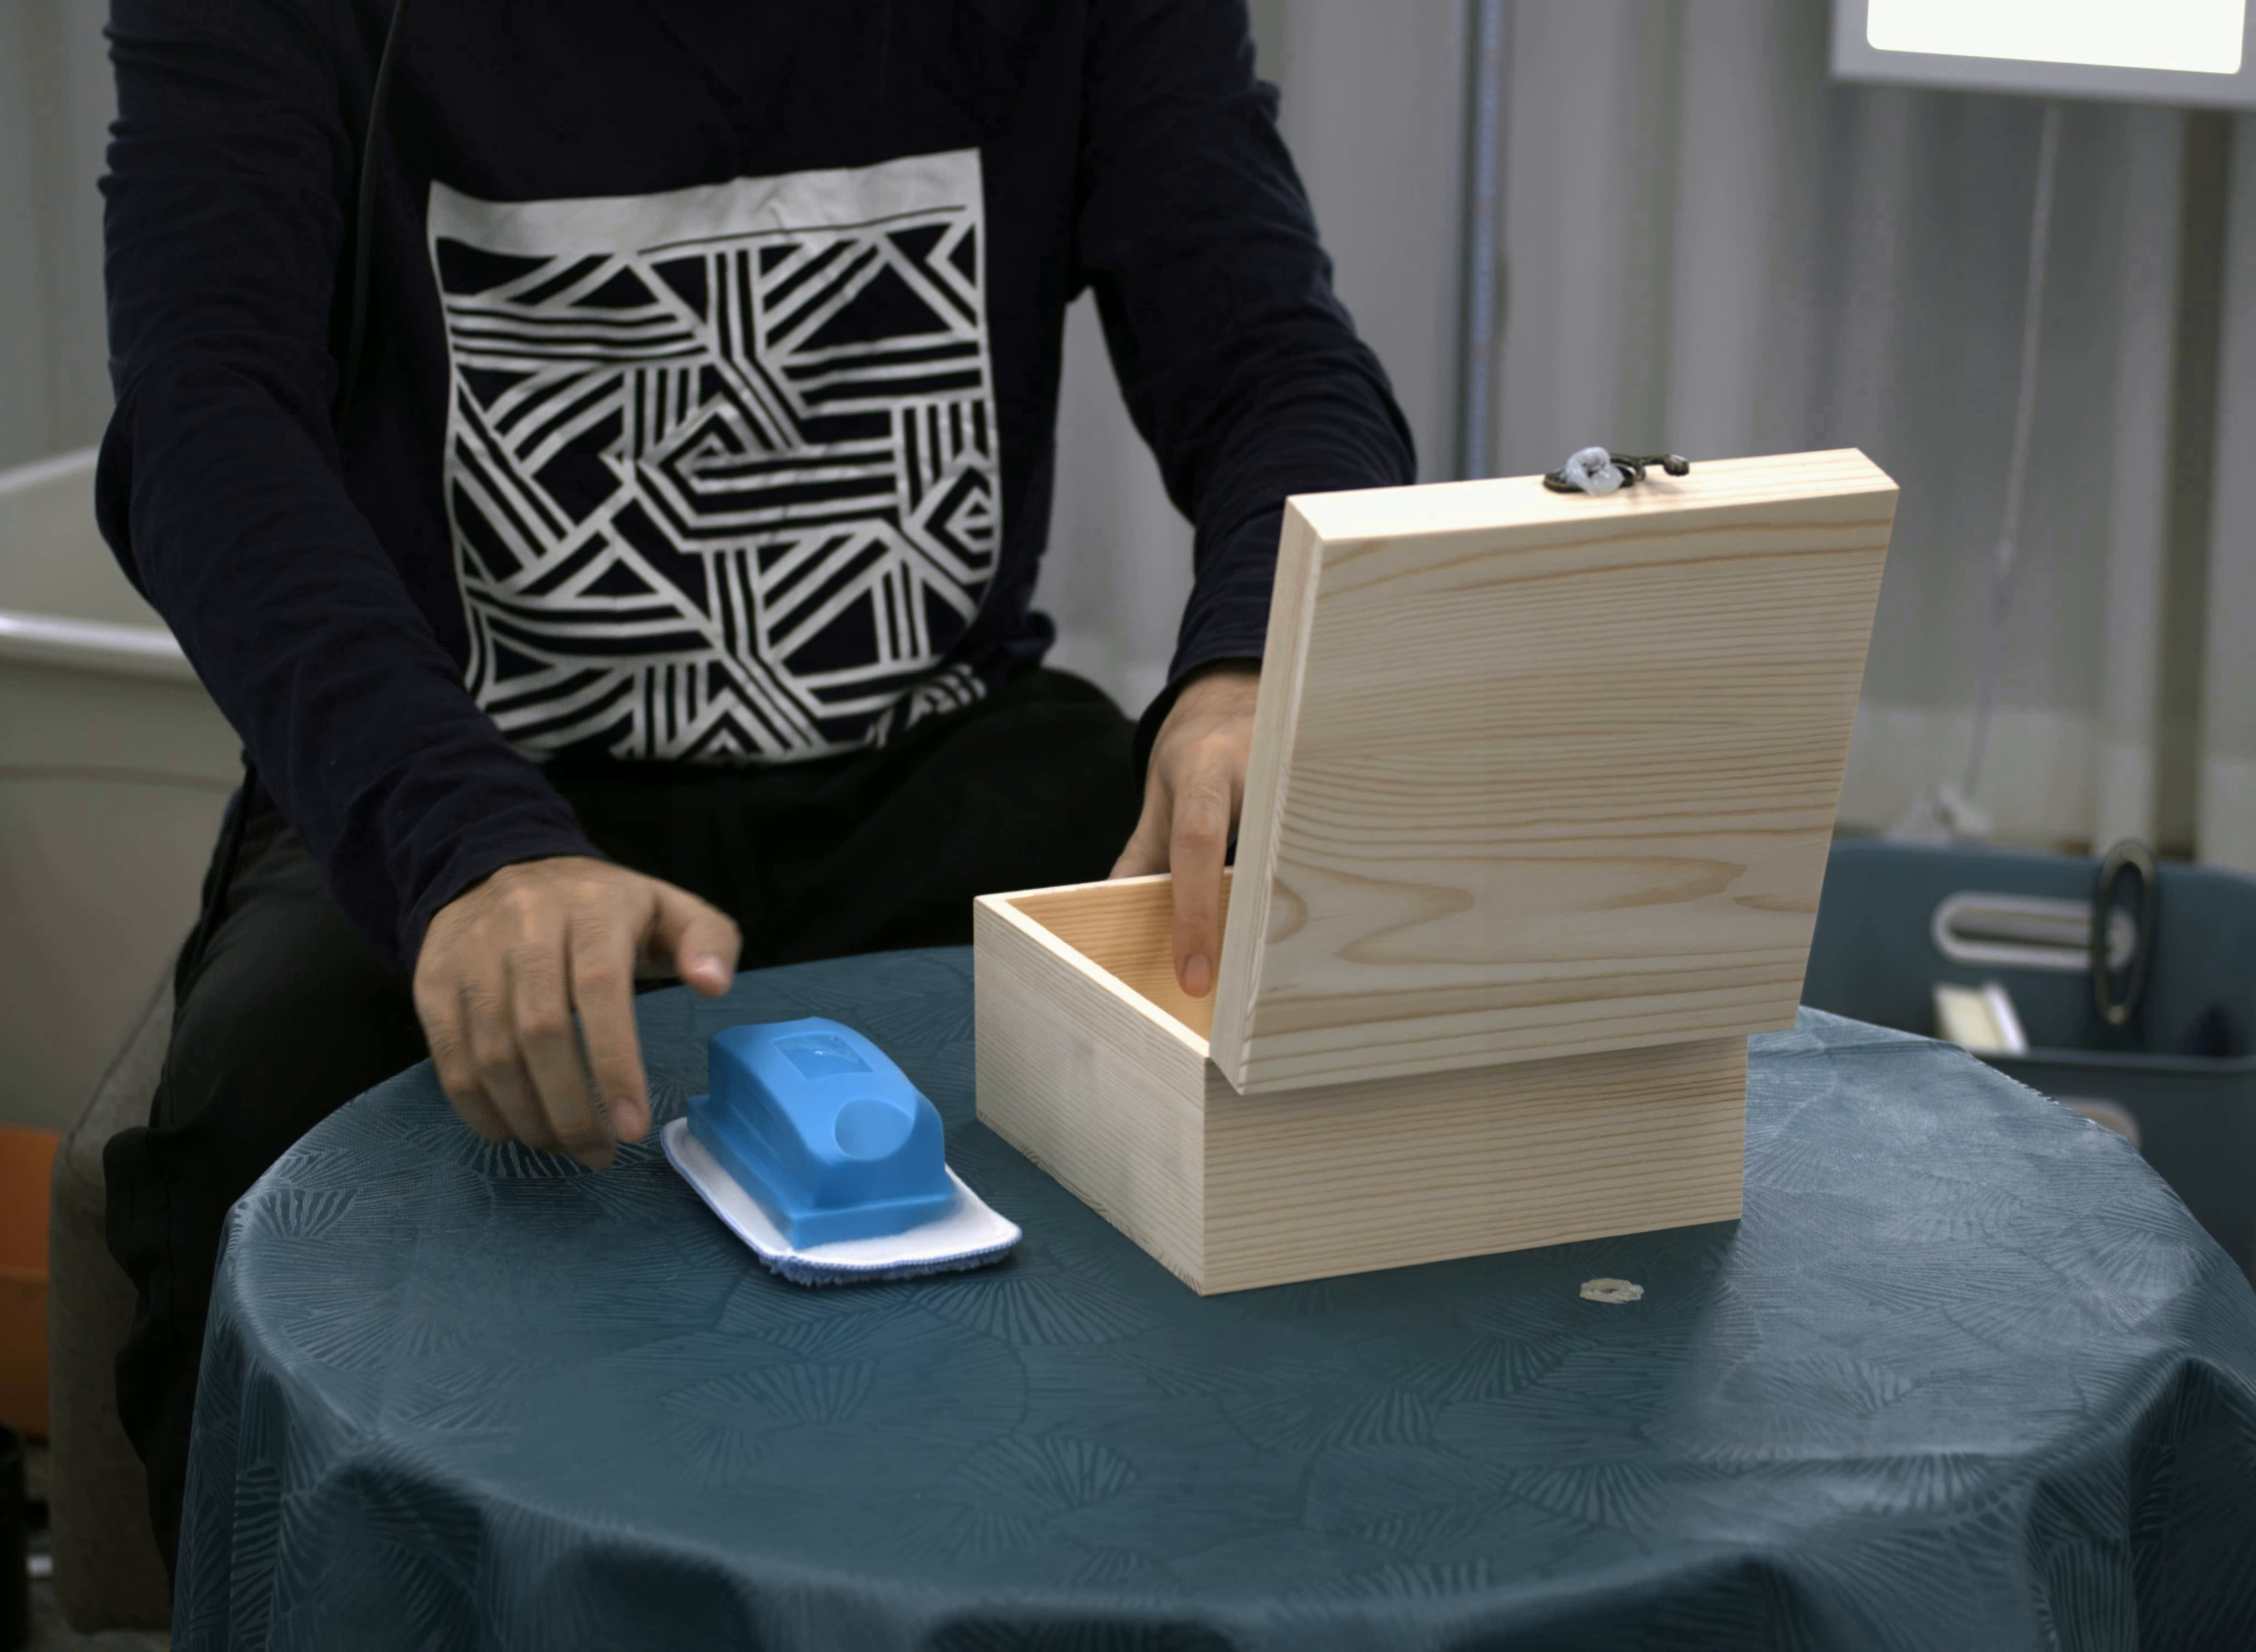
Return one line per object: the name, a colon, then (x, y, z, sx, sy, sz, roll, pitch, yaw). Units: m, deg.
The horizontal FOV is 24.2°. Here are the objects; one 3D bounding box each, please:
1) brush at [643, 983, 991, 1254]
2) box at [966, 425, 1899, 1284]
brush: (-0.094, 0.086, 1.602, 0.084, 0.056, 0.142, -1, 18, -19)
box: (0.081, -0.008, 1.584, 0.182, 0.255, 0.262, -7, 18, -24)
